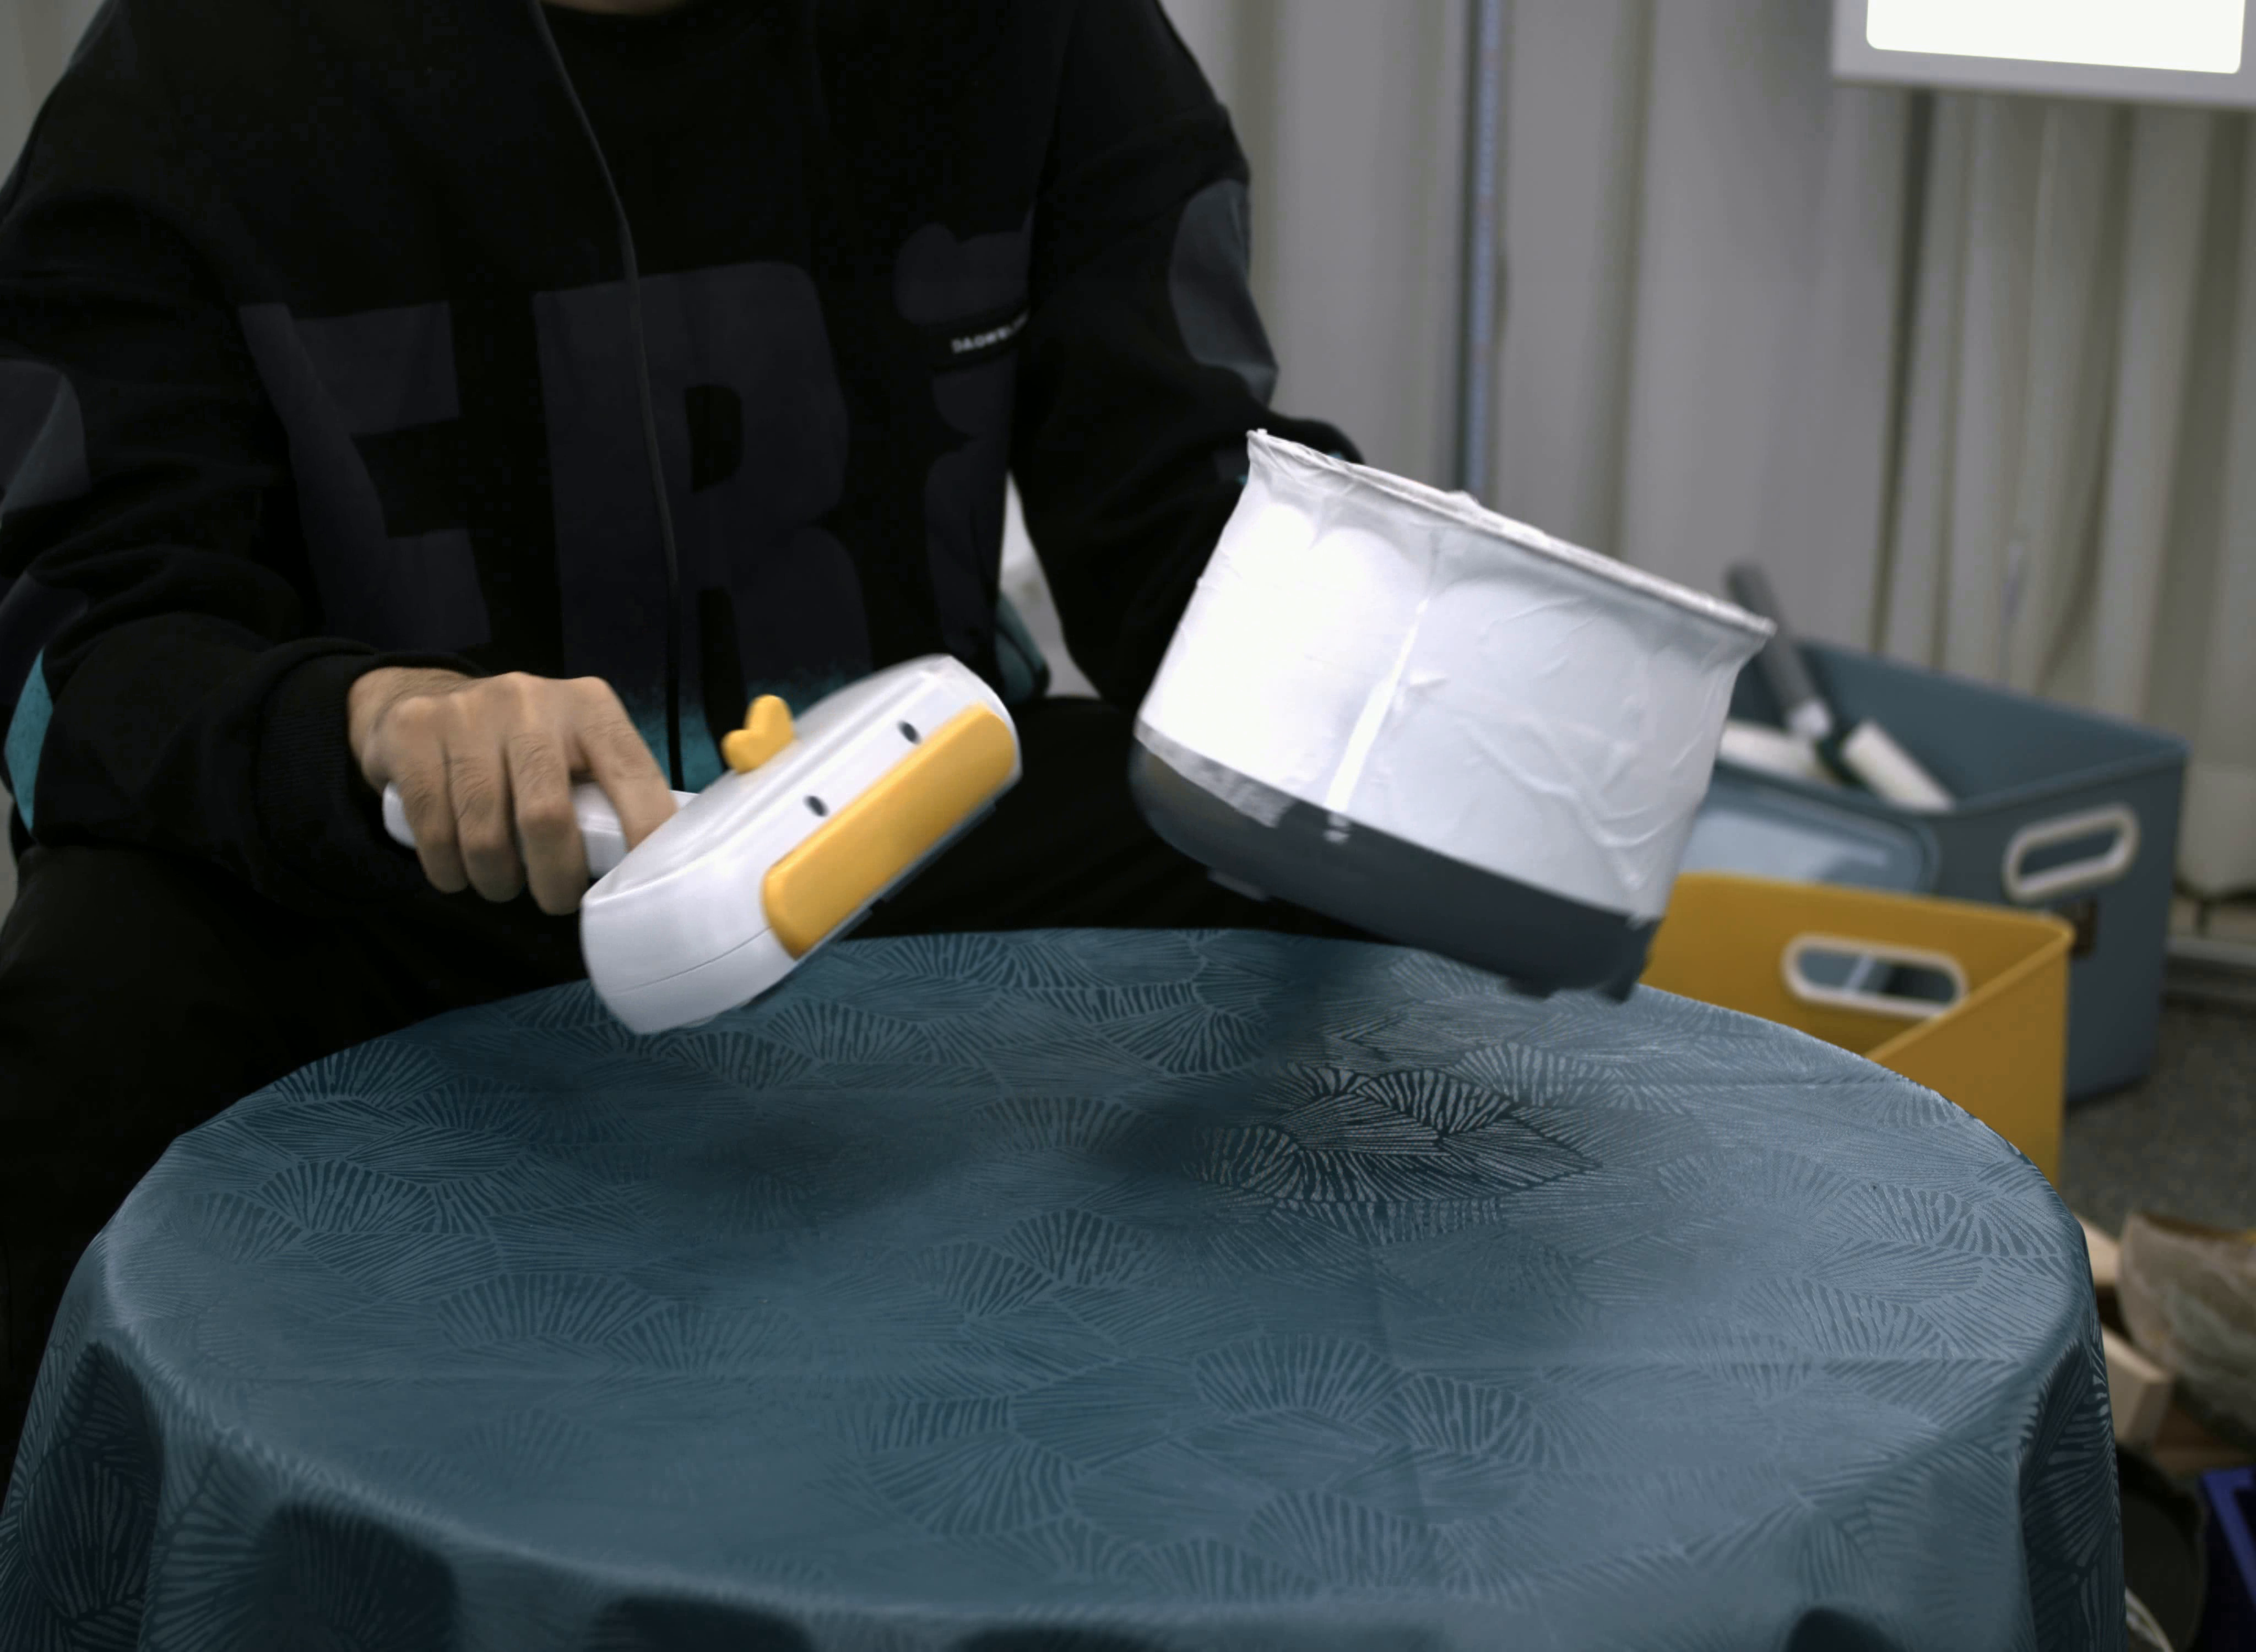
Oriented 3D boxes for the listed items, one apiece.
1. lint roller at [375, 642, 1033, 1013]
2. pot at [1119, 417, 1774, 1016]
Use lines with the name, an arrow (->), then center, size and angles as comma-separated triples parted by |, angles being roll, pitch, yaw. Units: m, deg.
lint roller -> -0.147, -0.001, 1.653 | 0.190, 0.075, 0.192 | -7, 24, 27
pot -> 0.092, -0.038, 1.674 | 0.179, 0.137, 0.232 | 23, 6, -9
